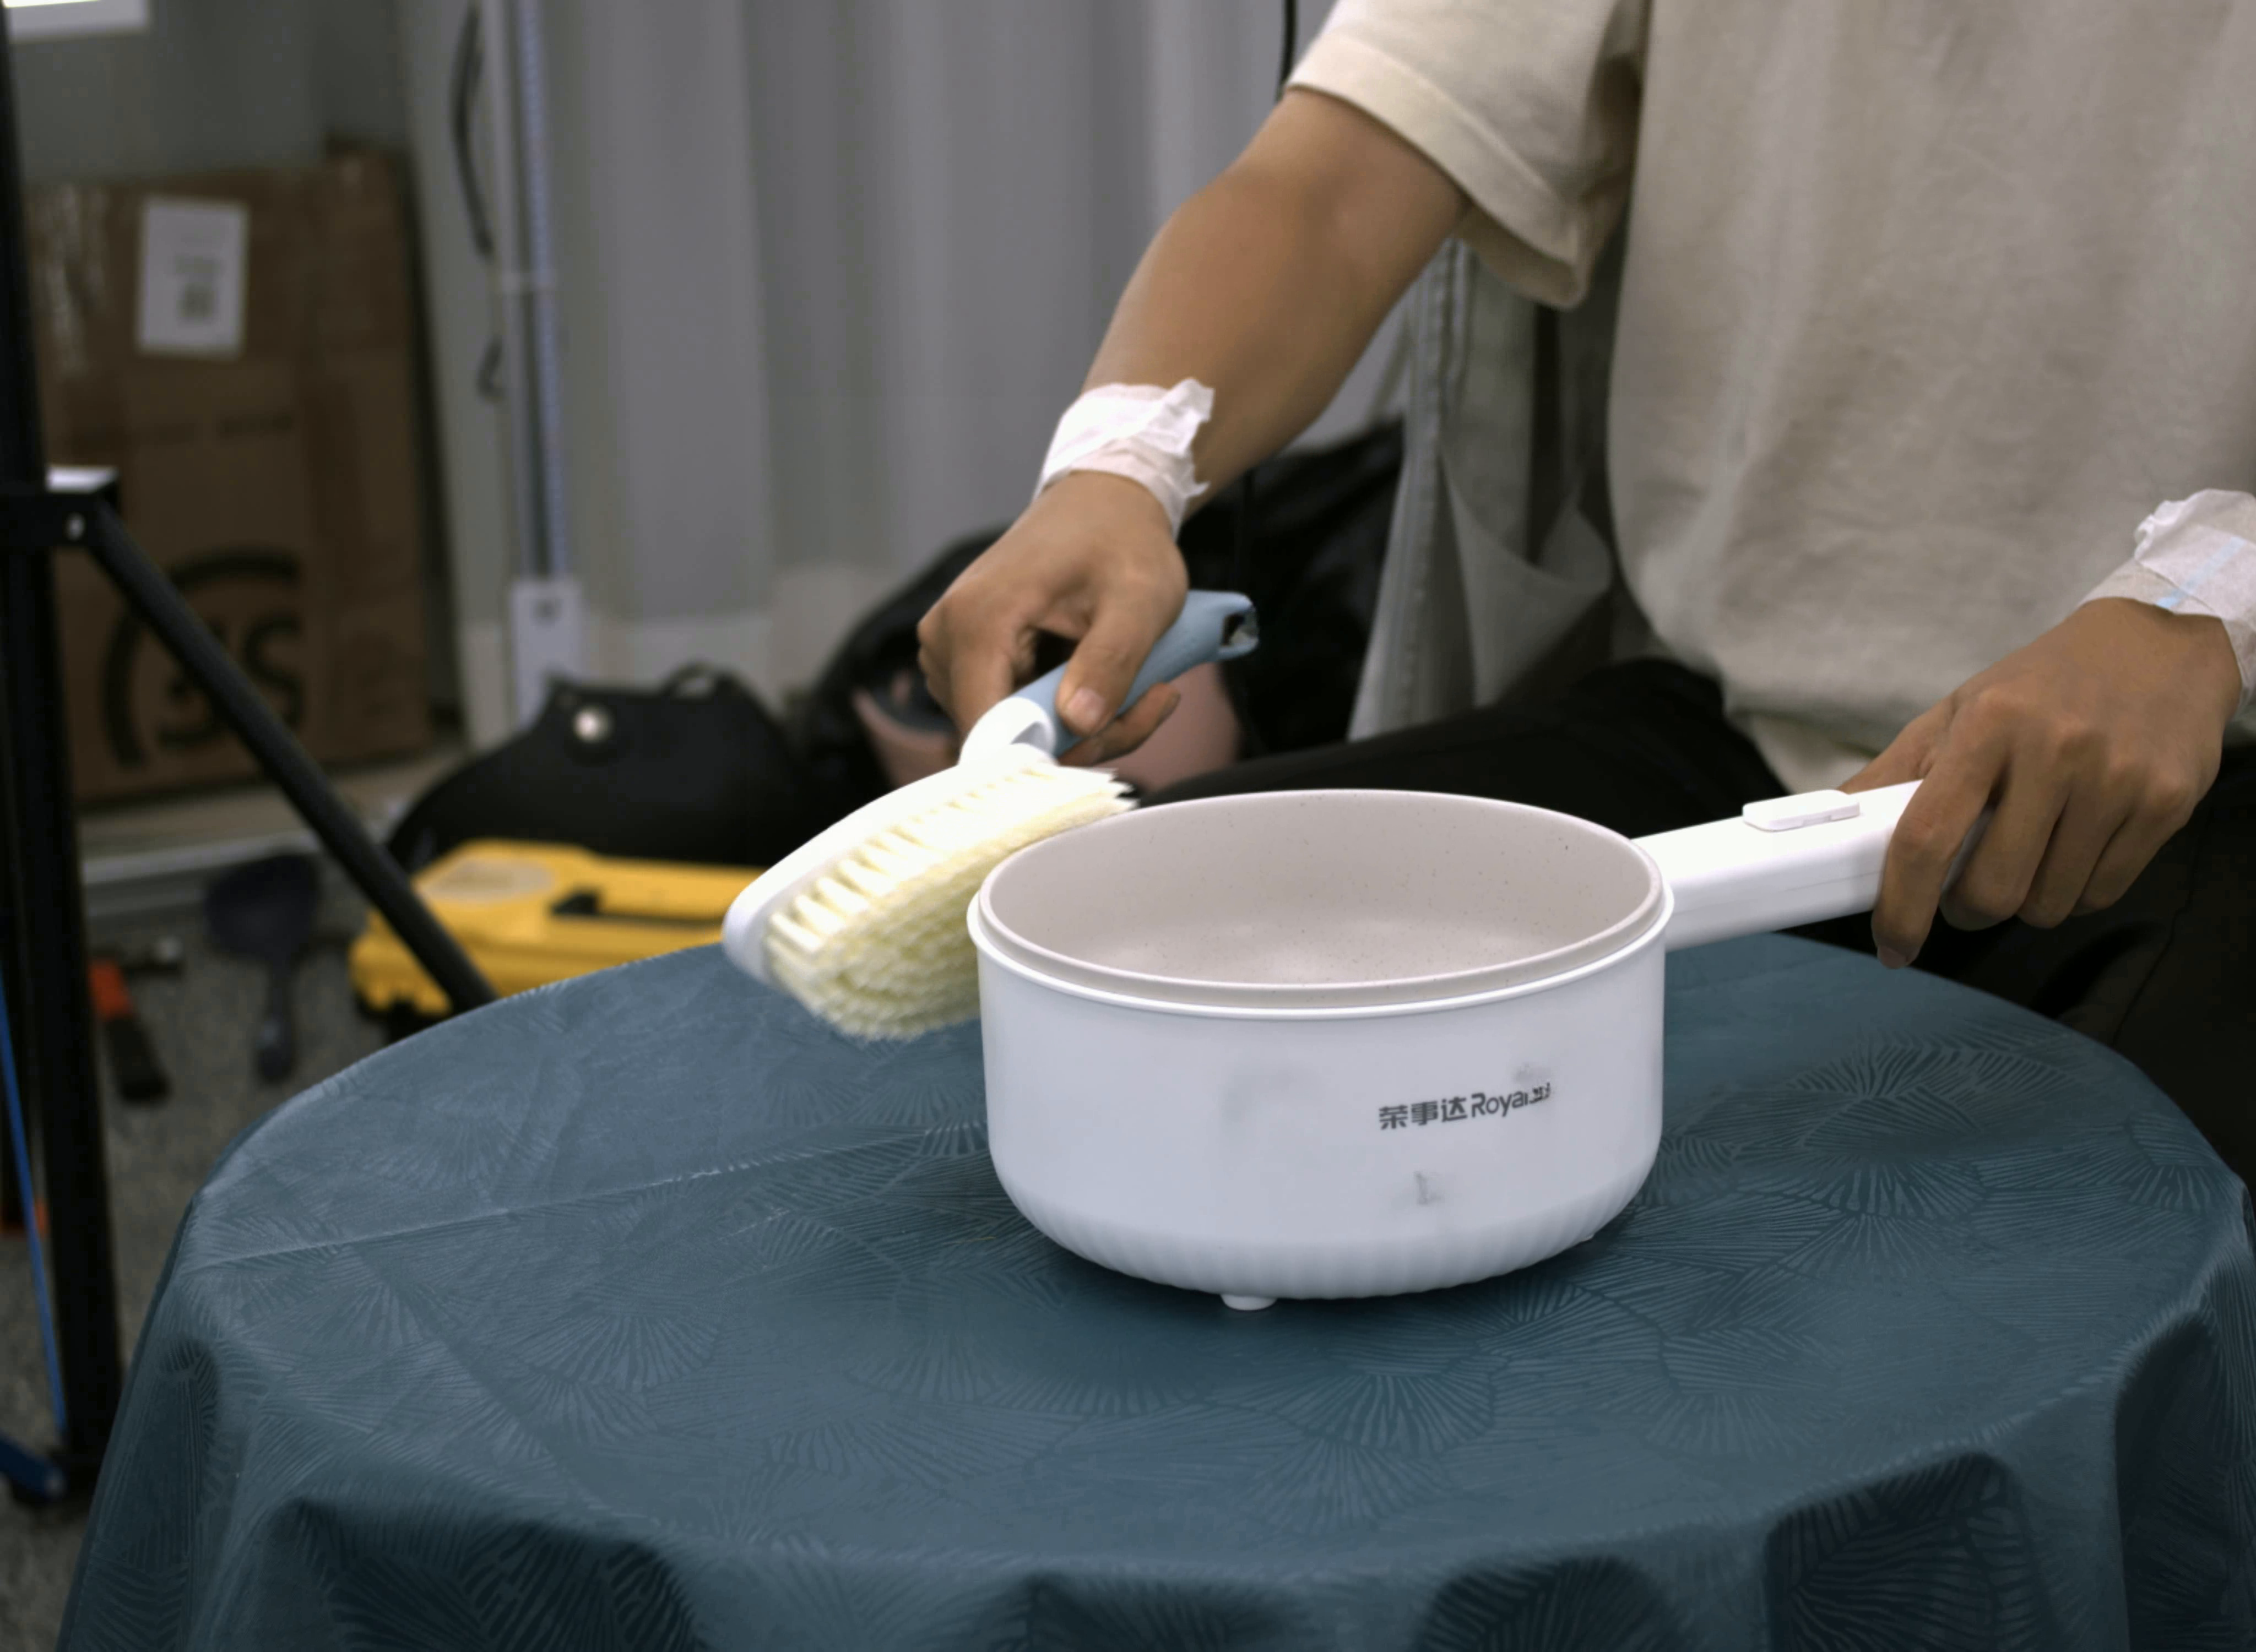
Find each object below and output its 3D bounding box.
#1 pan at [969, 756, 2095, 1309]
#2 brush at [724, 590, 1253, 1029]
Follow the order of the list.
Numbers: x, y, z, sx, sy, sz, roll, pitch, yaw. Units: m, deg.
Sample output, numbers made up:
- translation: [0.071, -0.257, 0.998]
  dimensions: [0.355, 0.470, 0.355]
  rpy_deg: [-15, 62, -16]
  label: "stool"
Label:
- translation: [0.125, 0.053, 1.544]
  dimensions: [0.348, 0.102, 0.205]
  rpy_deg: [-9, 17, -23]
  label: "pan"
- translation: [-0.010, -0.014, 1.644]
  dimensions: [0.084, 0.085, 0.320]
  rpy_deg: [-40, -4, 34]
  label: "brush"
